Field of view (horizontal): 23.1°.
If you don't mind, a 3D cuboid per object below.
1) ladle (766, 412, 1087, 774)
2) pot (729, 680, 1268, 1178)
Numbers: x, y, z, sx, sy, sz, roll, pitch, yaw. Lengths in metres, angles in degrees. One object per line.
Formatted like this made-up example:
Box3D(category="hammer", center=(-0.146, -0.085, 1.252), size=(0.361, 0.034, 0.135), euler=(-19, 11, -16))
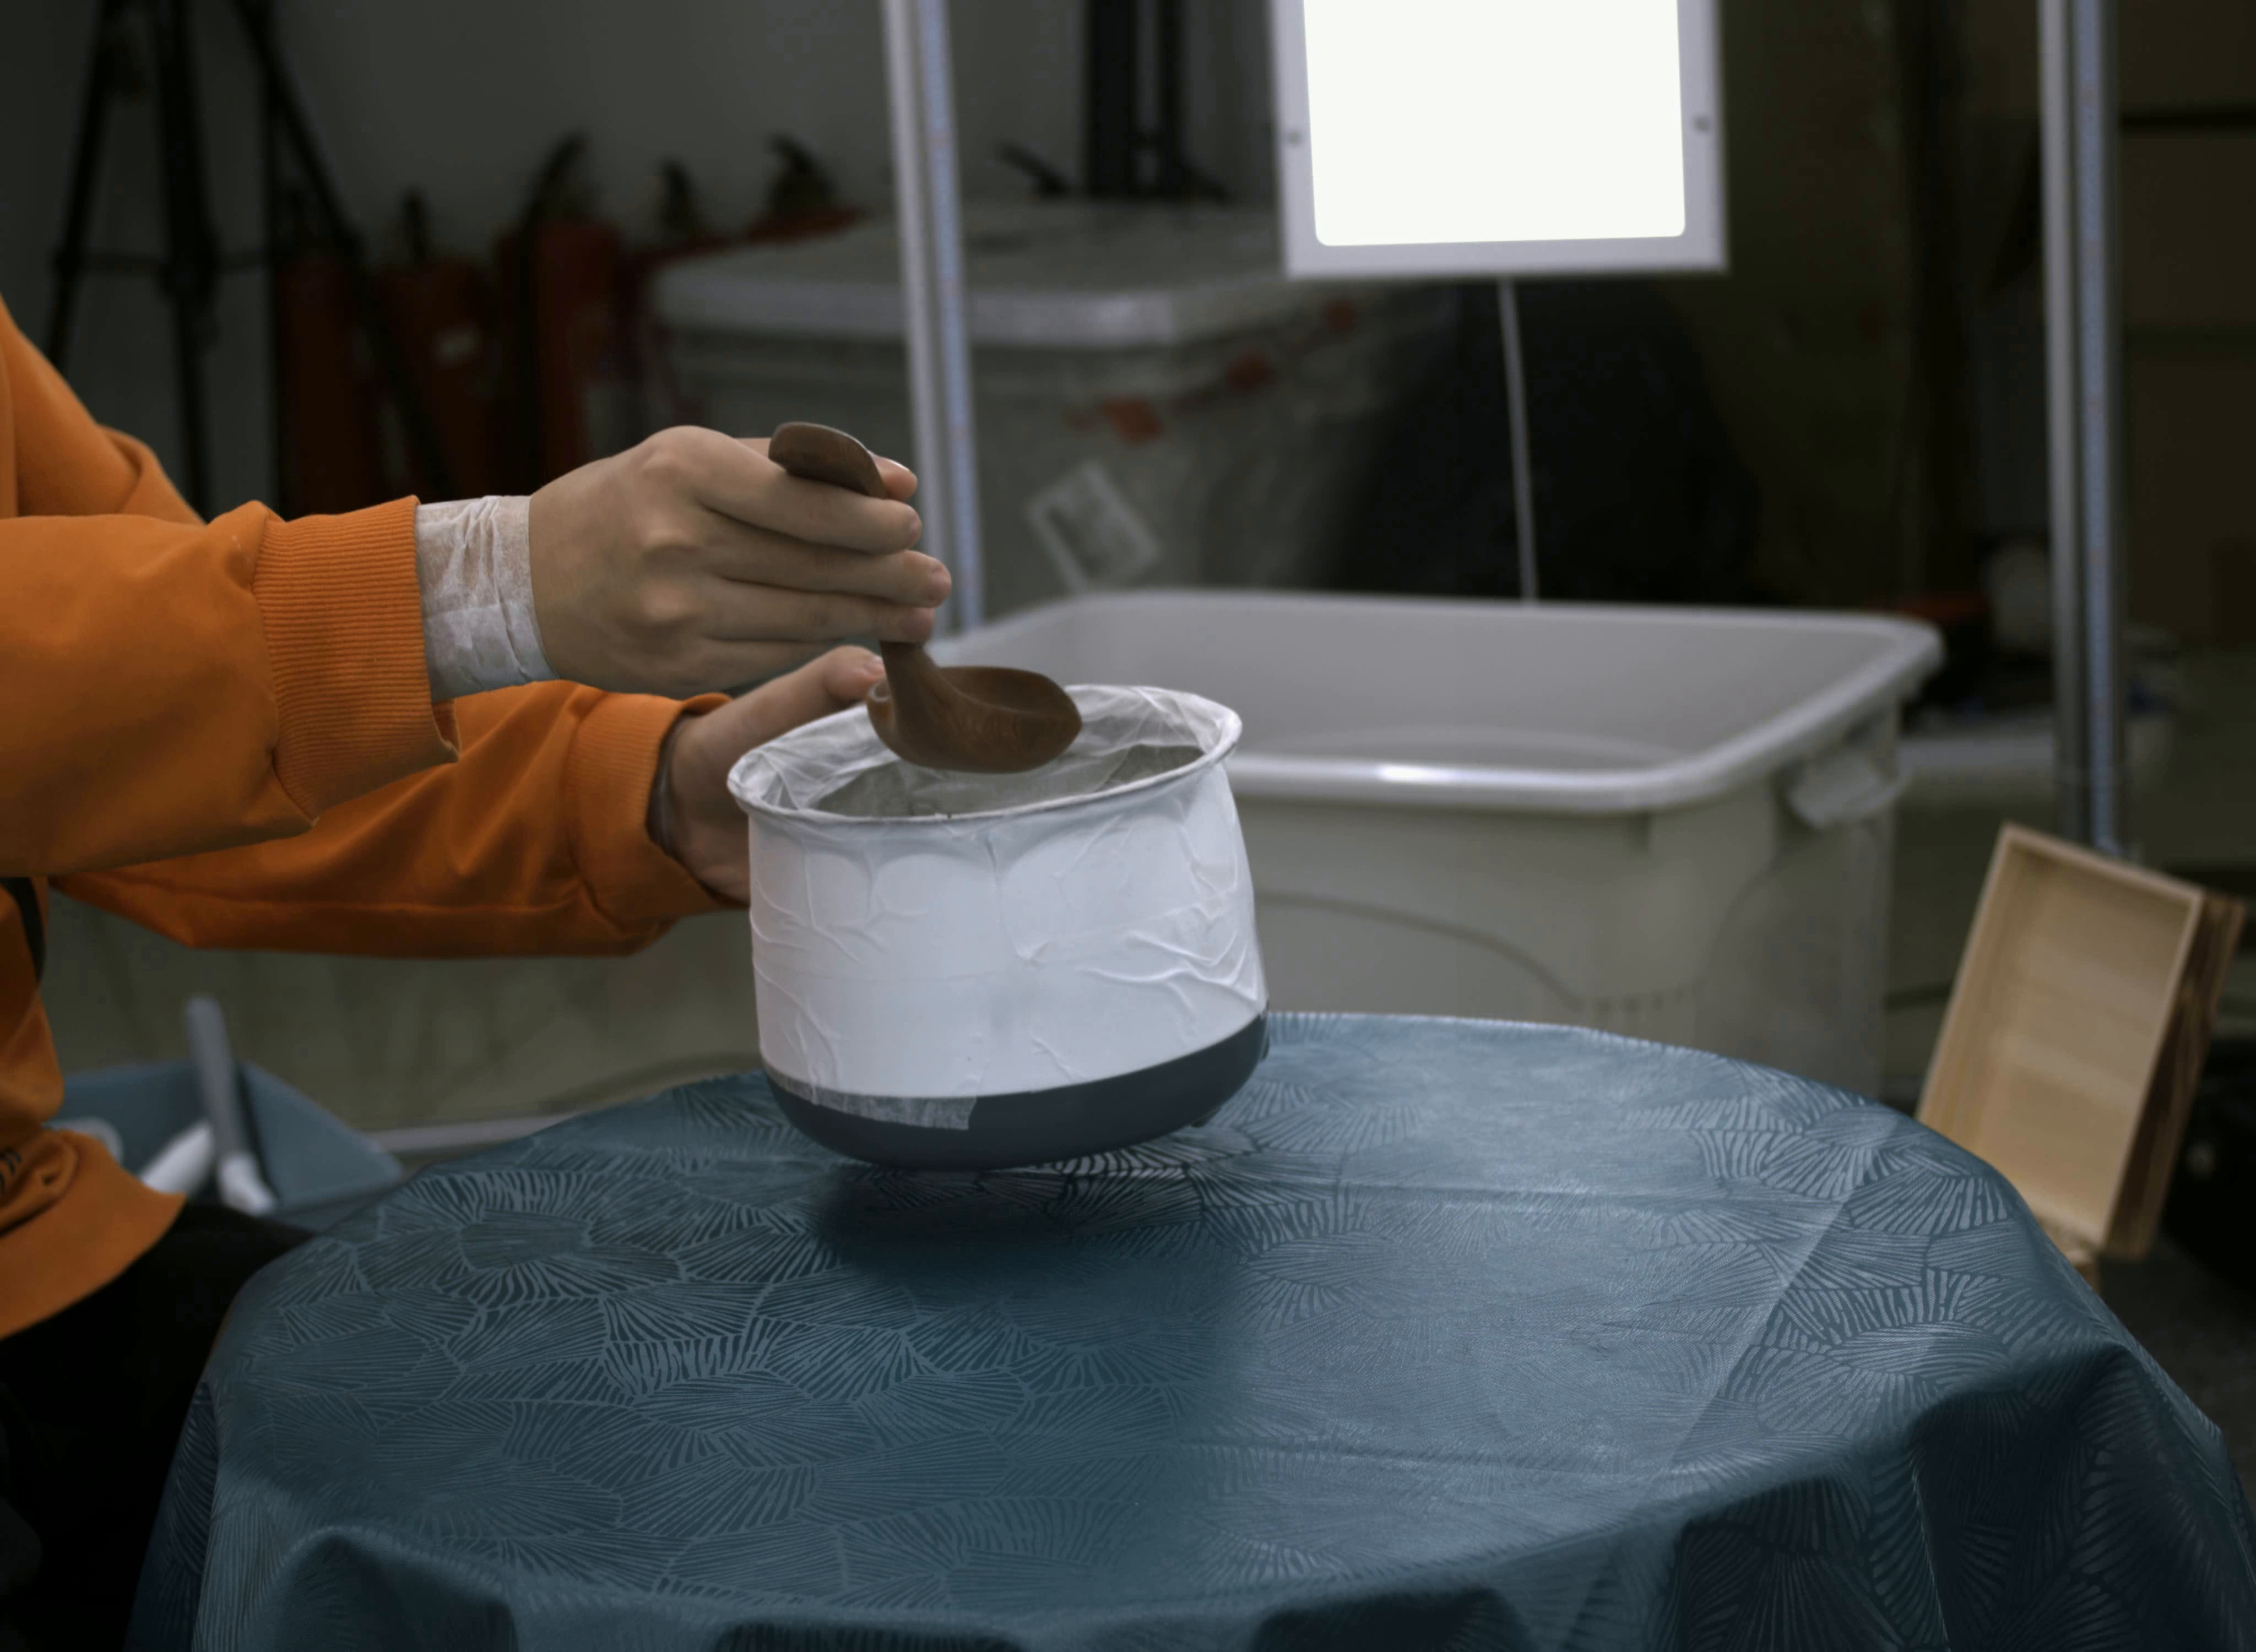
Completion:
Box3D(category="ladle", center=(-0.072, -0.084, 1.787), size=(0.077, 0.065, 0.259), euler=(1, -28, 14))
Box3D(category="pot", center=(-0.055, 0.029, 1.914), size=(0.175, 0.137, 0.237), euler=(-12, 15, -23))
